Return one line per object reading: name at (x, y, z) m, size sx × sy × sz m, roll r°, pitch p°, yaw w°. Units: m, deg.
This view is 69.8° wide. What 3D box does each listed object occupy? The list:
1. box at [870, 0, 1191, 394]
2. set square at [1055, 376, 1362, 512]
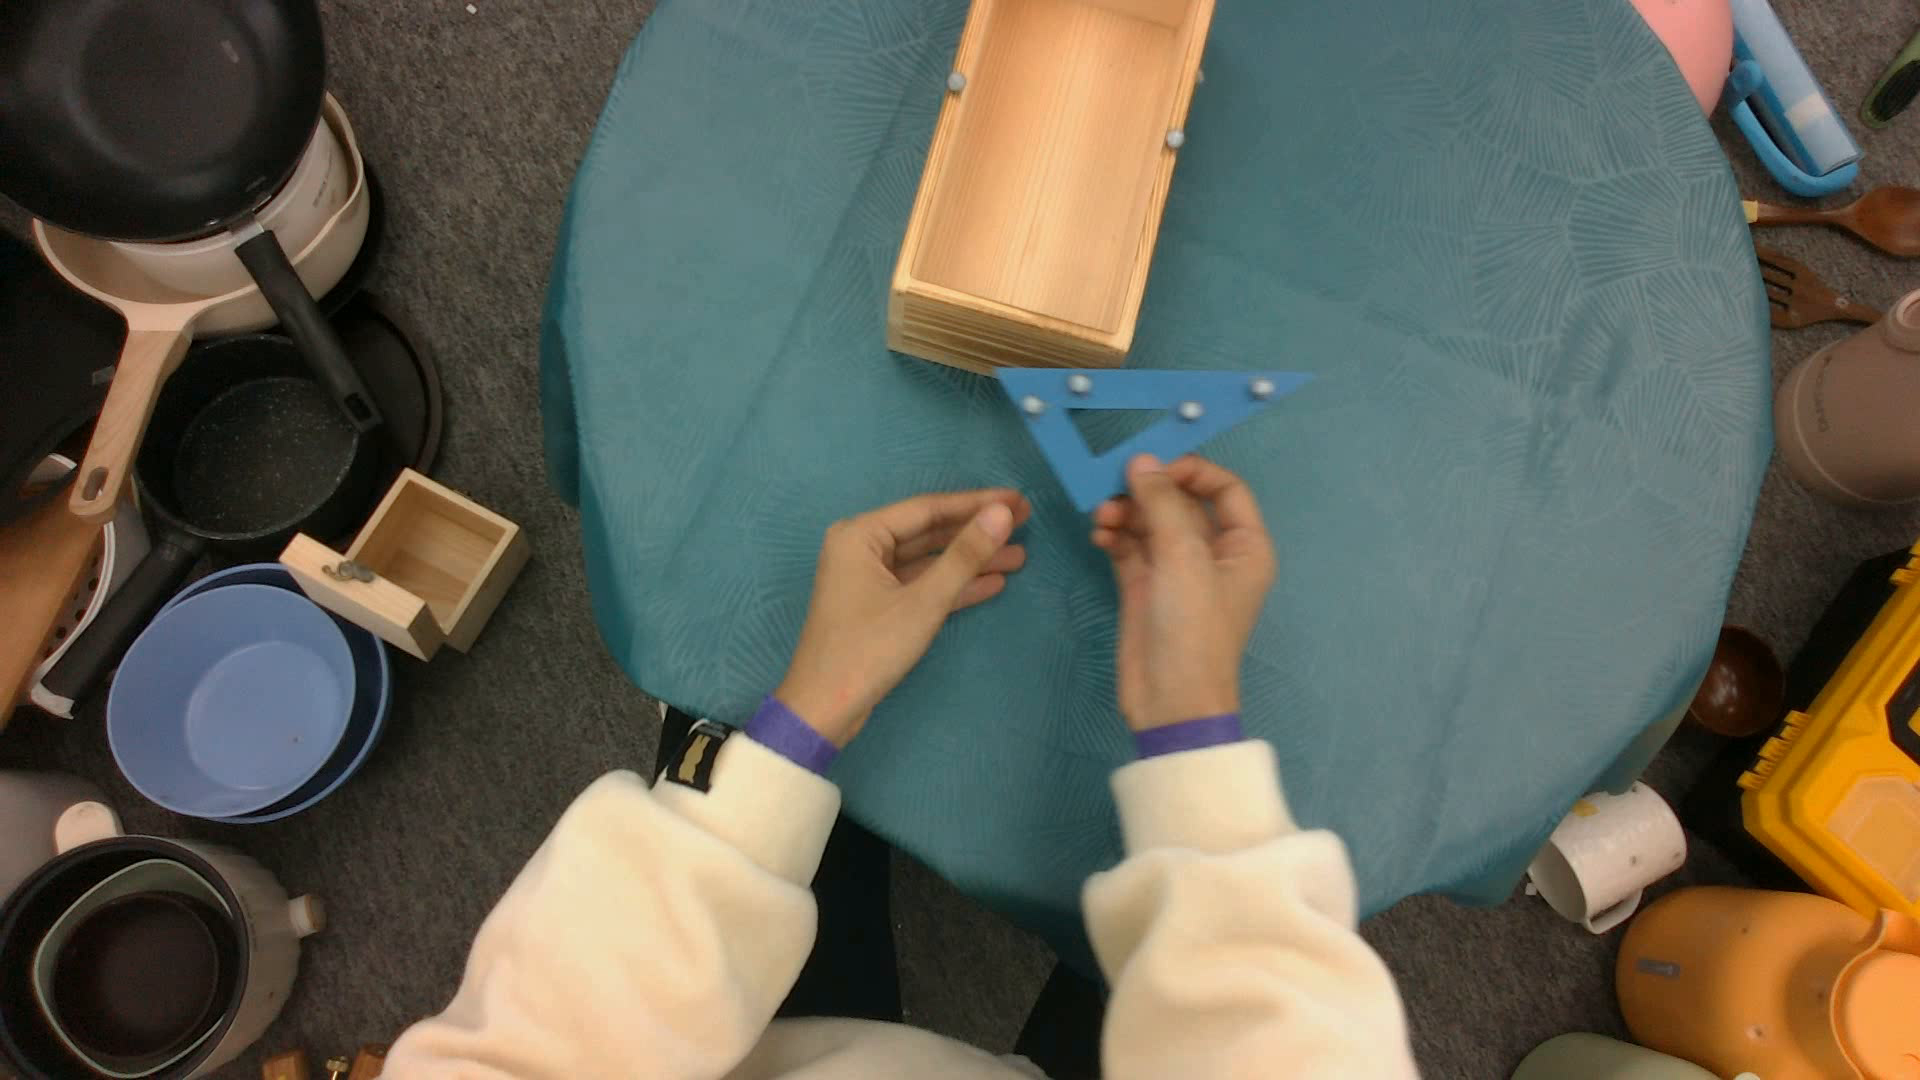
box at (0.036, -0.188, 0.645) m, size 0.107 × 0.080 × 0.212 m, roll 14°, pitch 77°, yaw -1°
set square at (0.106, -0.041, 0.587) m, size 0.132 × 0.006 × 0.061 m, roll 2°, pitch 84°, yaw 0°
